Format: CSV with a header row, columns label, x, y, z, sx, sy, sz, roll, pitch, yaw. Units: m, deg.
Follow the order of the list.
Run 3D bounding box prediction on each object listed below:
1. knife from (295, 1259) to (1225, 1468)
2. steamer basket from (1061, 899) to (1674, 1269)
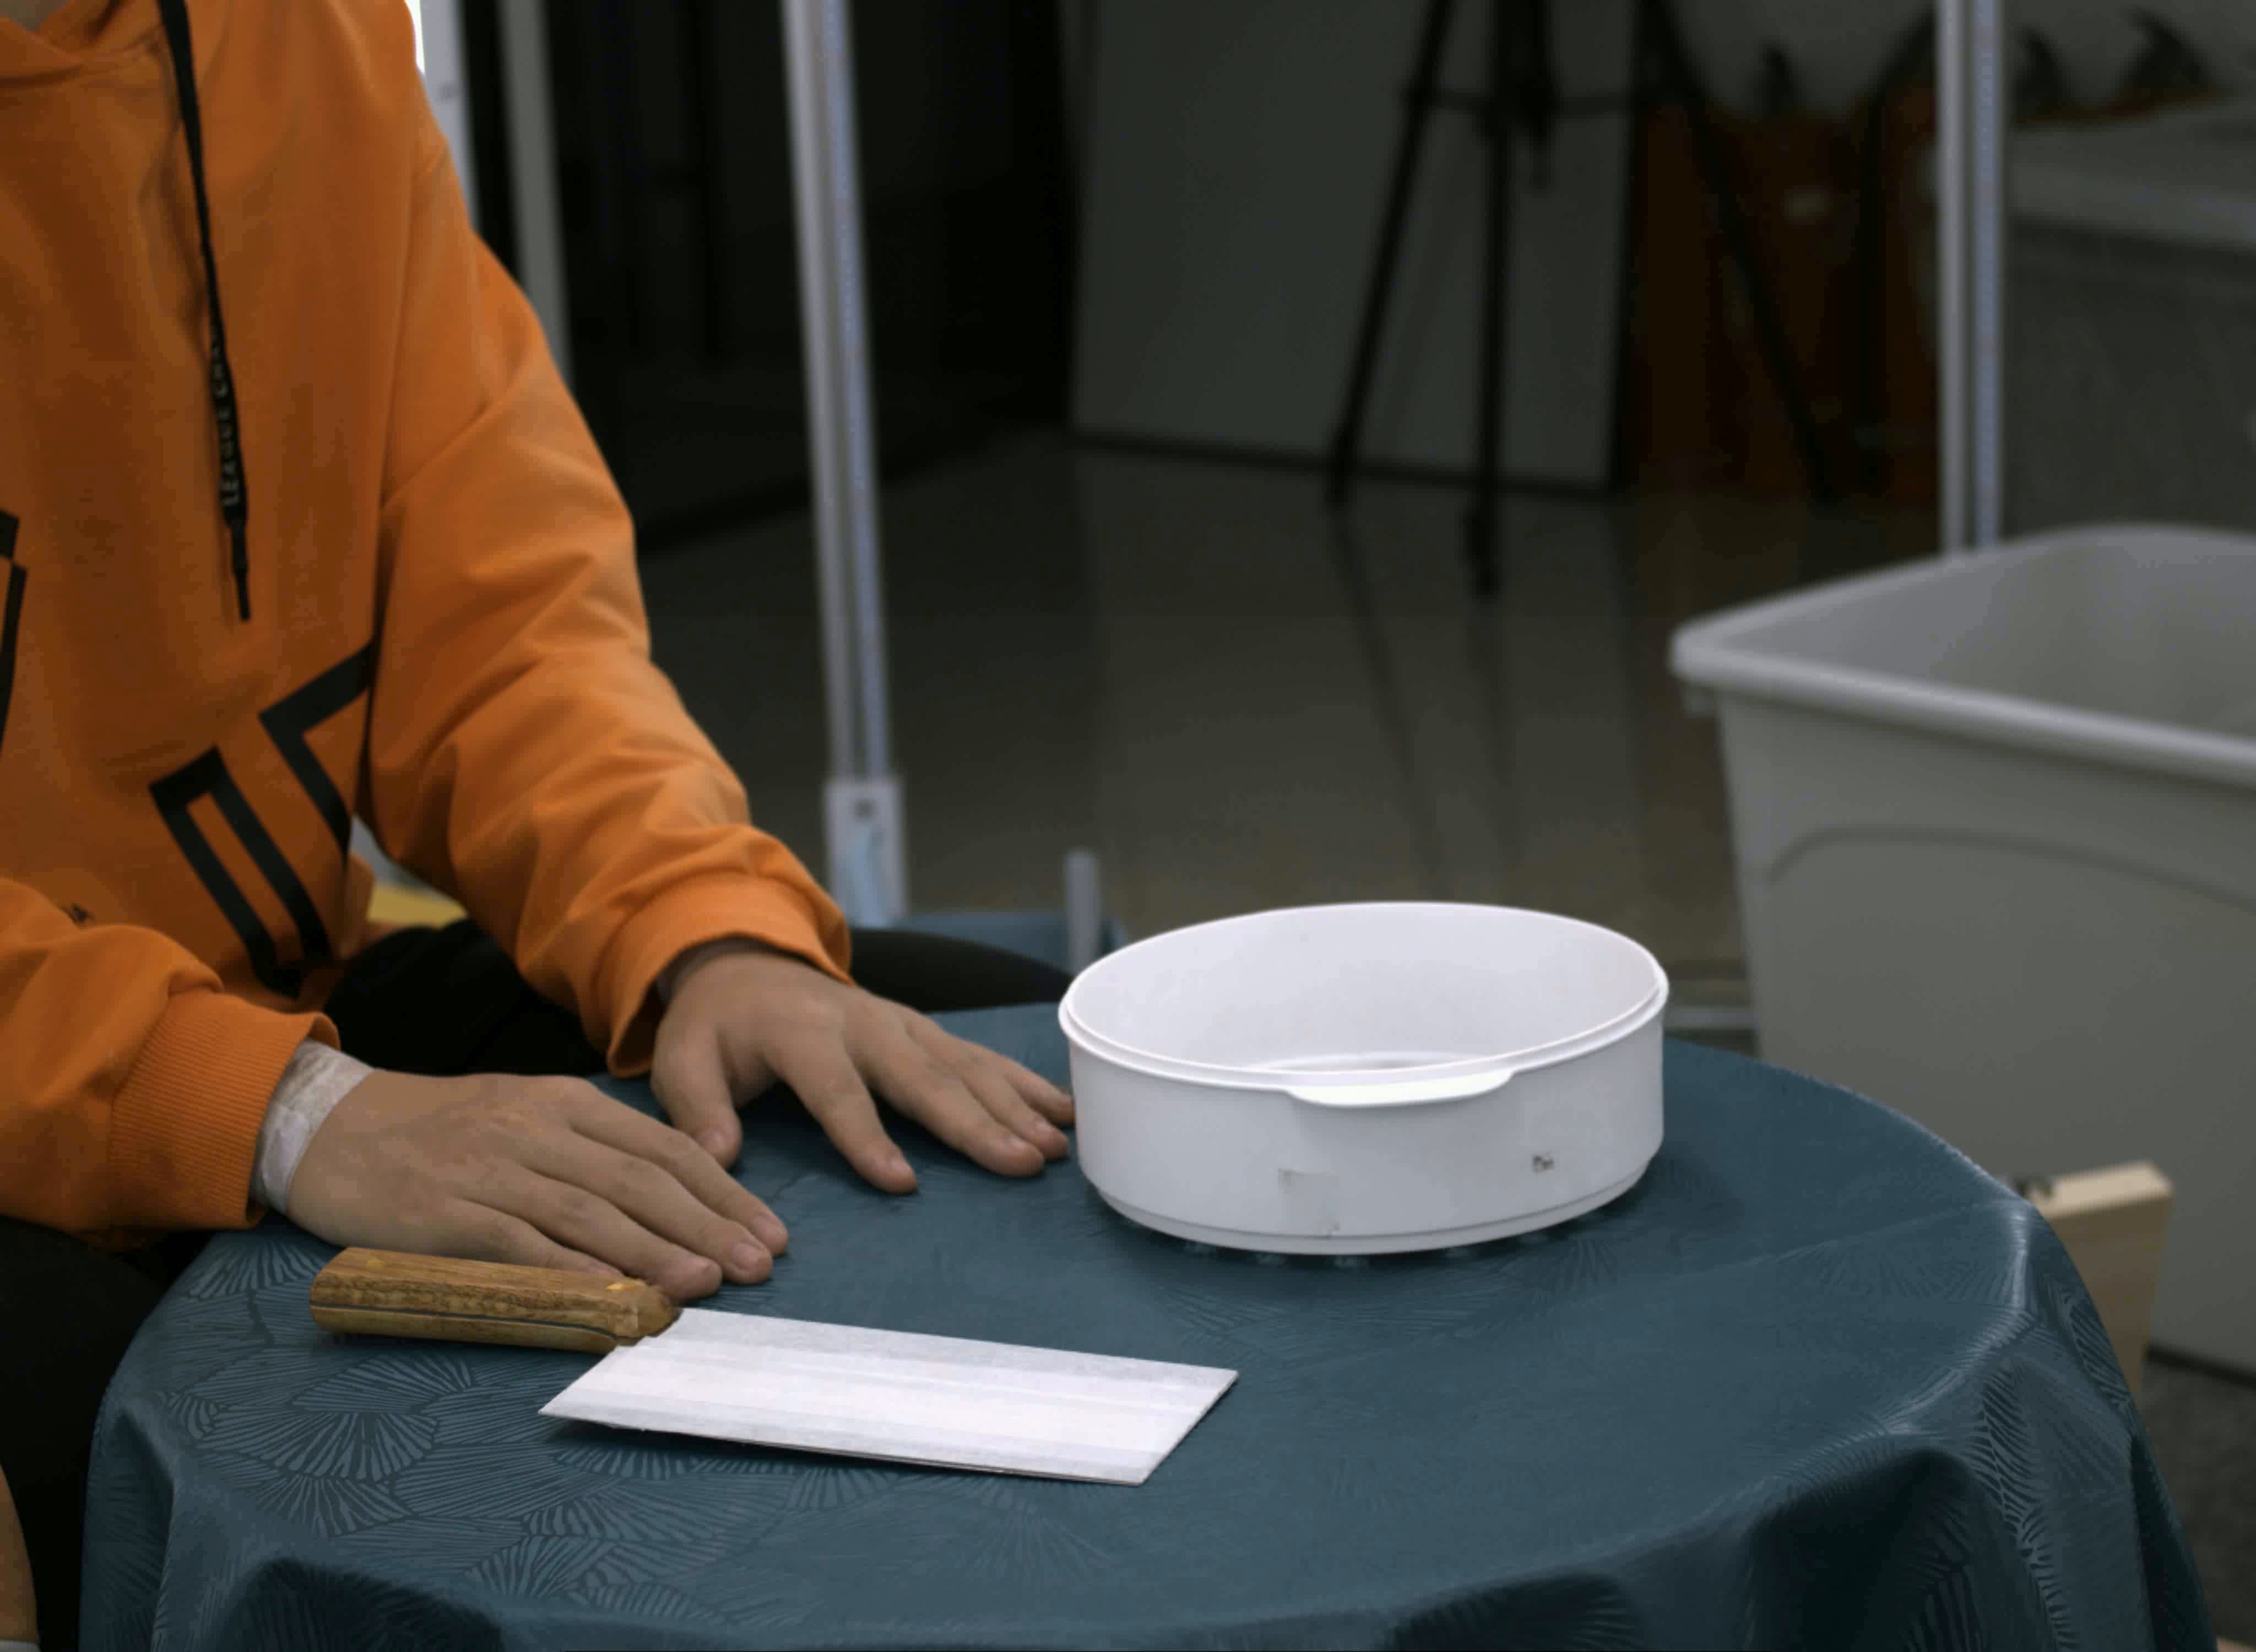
label,x,y,z,sx,sy,sz,roll,pitch,yaw
knife,-0.122,0.163,1.606,0.305,0.021,0.092,4,17,22
steamer basket,0.079,0.084,1.754,0.199,0.070,0.231,-6,16,-3
